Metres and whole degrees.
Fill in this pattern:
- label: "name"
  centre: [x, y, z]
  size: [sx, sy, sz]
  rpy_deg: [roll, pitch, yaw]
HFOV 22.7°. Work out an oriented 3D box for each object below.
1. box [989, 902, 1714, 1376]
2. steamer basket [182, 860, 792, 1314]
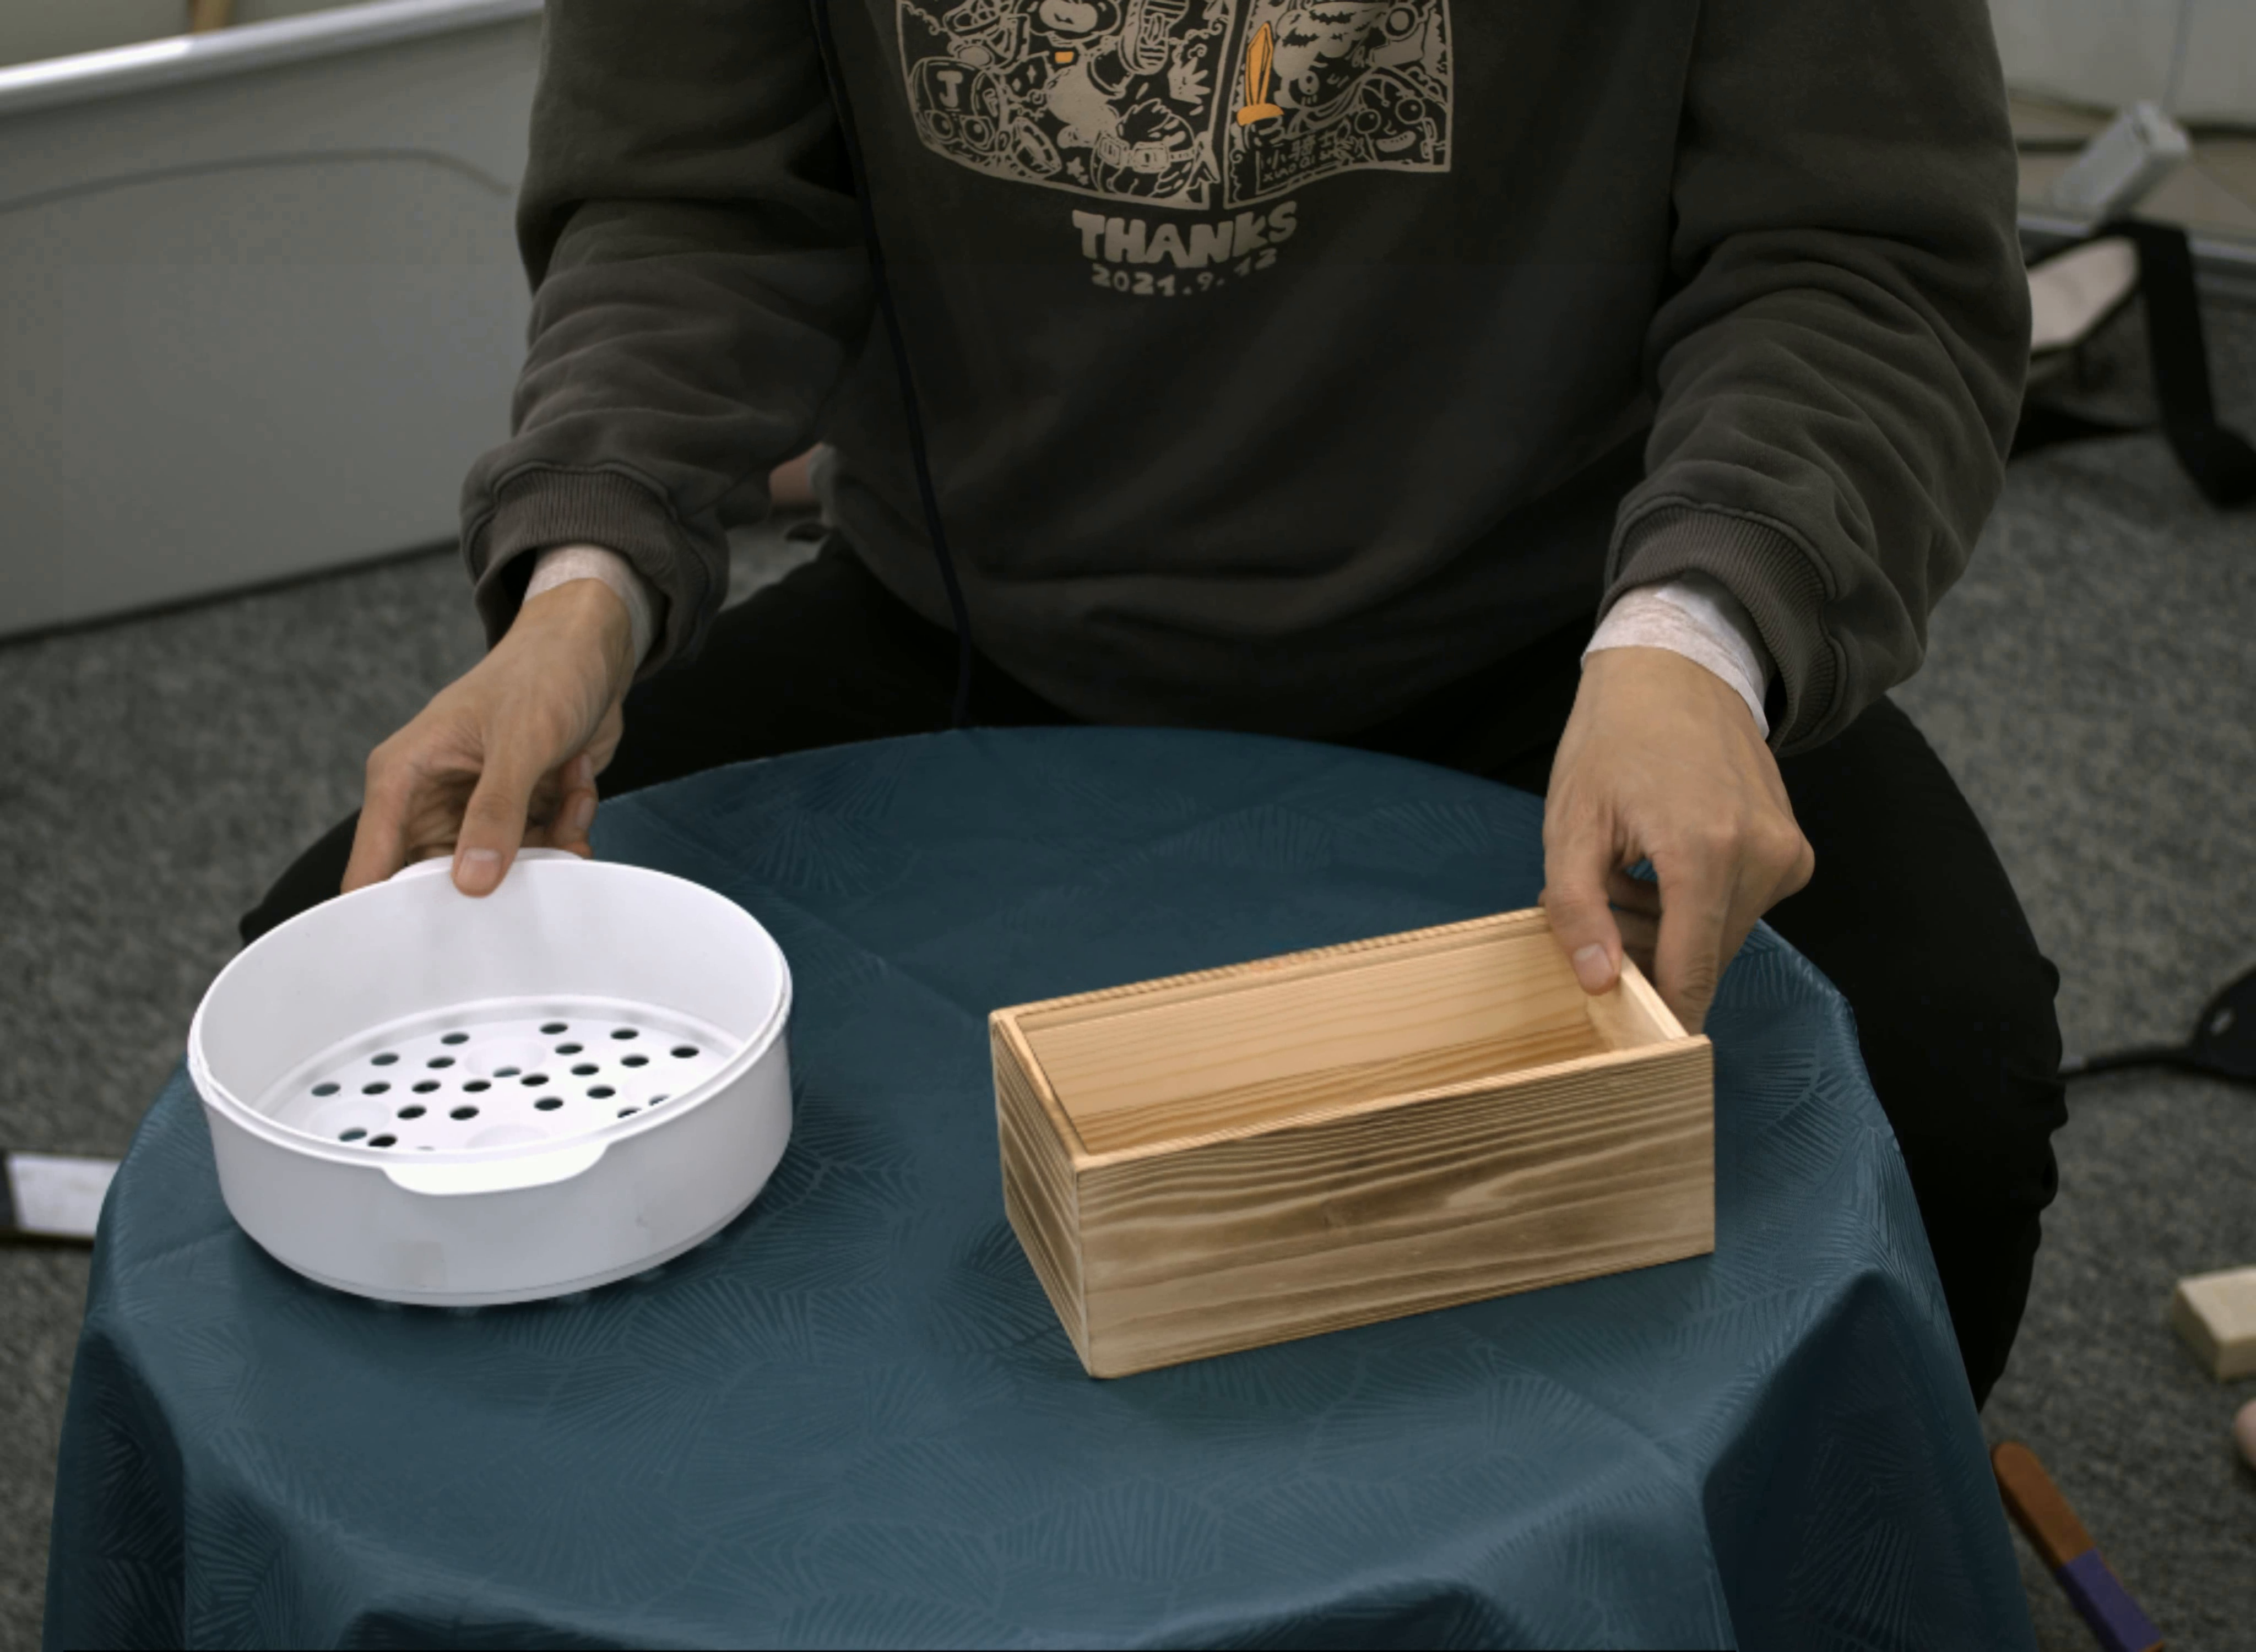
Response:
- label: "box"
  centre: [0.071, 0.099, 1.811]
  size: [0.211, 0.079, 0.108]
  rpy_deg: [-10, 27, -14]
- label: "steamer basket"
  centre: [-0.211, 0.089, 1.872]
  size: [0.201, 0.068, 0.233]
  rpy_deg: [-5, 27, -5]
